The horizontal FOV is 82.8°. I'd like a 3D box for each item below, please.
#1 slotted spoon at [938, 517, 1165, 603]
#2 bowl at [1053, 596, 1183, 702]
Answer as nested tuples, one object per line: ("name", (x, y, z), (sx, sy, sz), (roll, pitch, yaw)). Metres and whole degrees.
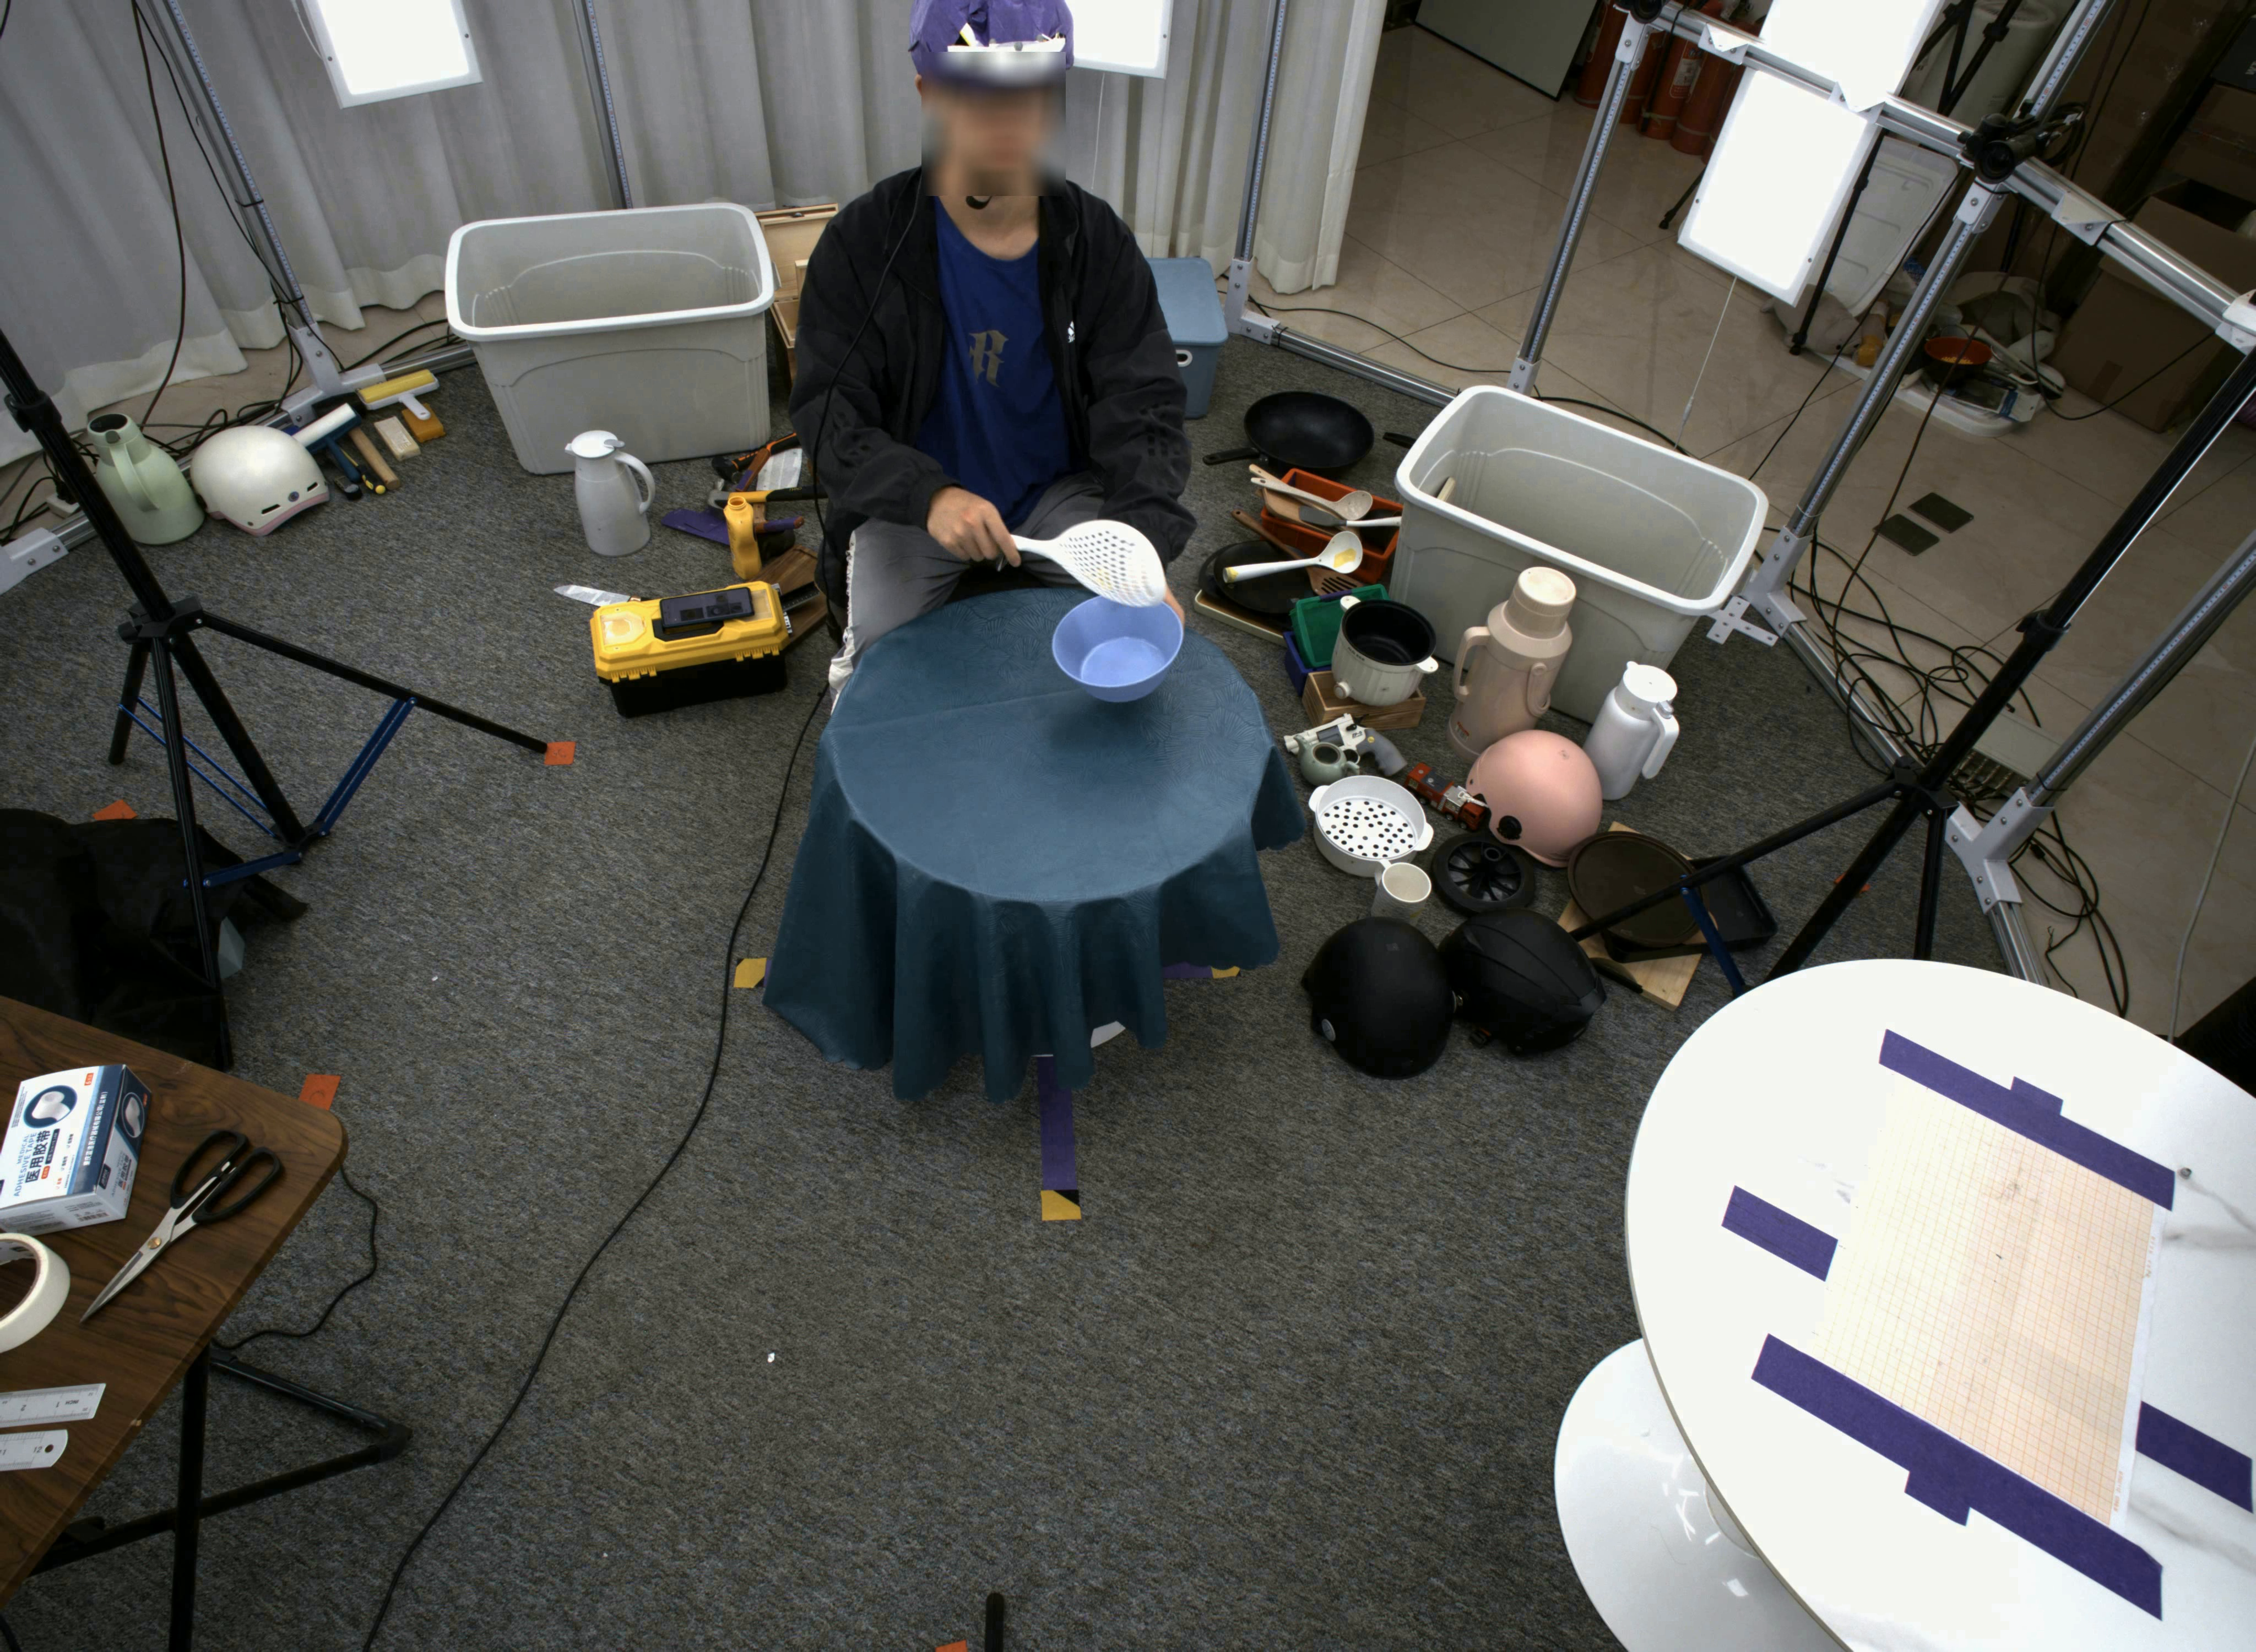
("slotted spoon", (-0.107, -0.361, 1.702), (0.352, 0.133, 0.051), (22, 60, 32))
("bowl", (-0.010, -0.234, 1.745), (0.176, 0.068, 0.180), (-4, 51, 5))
